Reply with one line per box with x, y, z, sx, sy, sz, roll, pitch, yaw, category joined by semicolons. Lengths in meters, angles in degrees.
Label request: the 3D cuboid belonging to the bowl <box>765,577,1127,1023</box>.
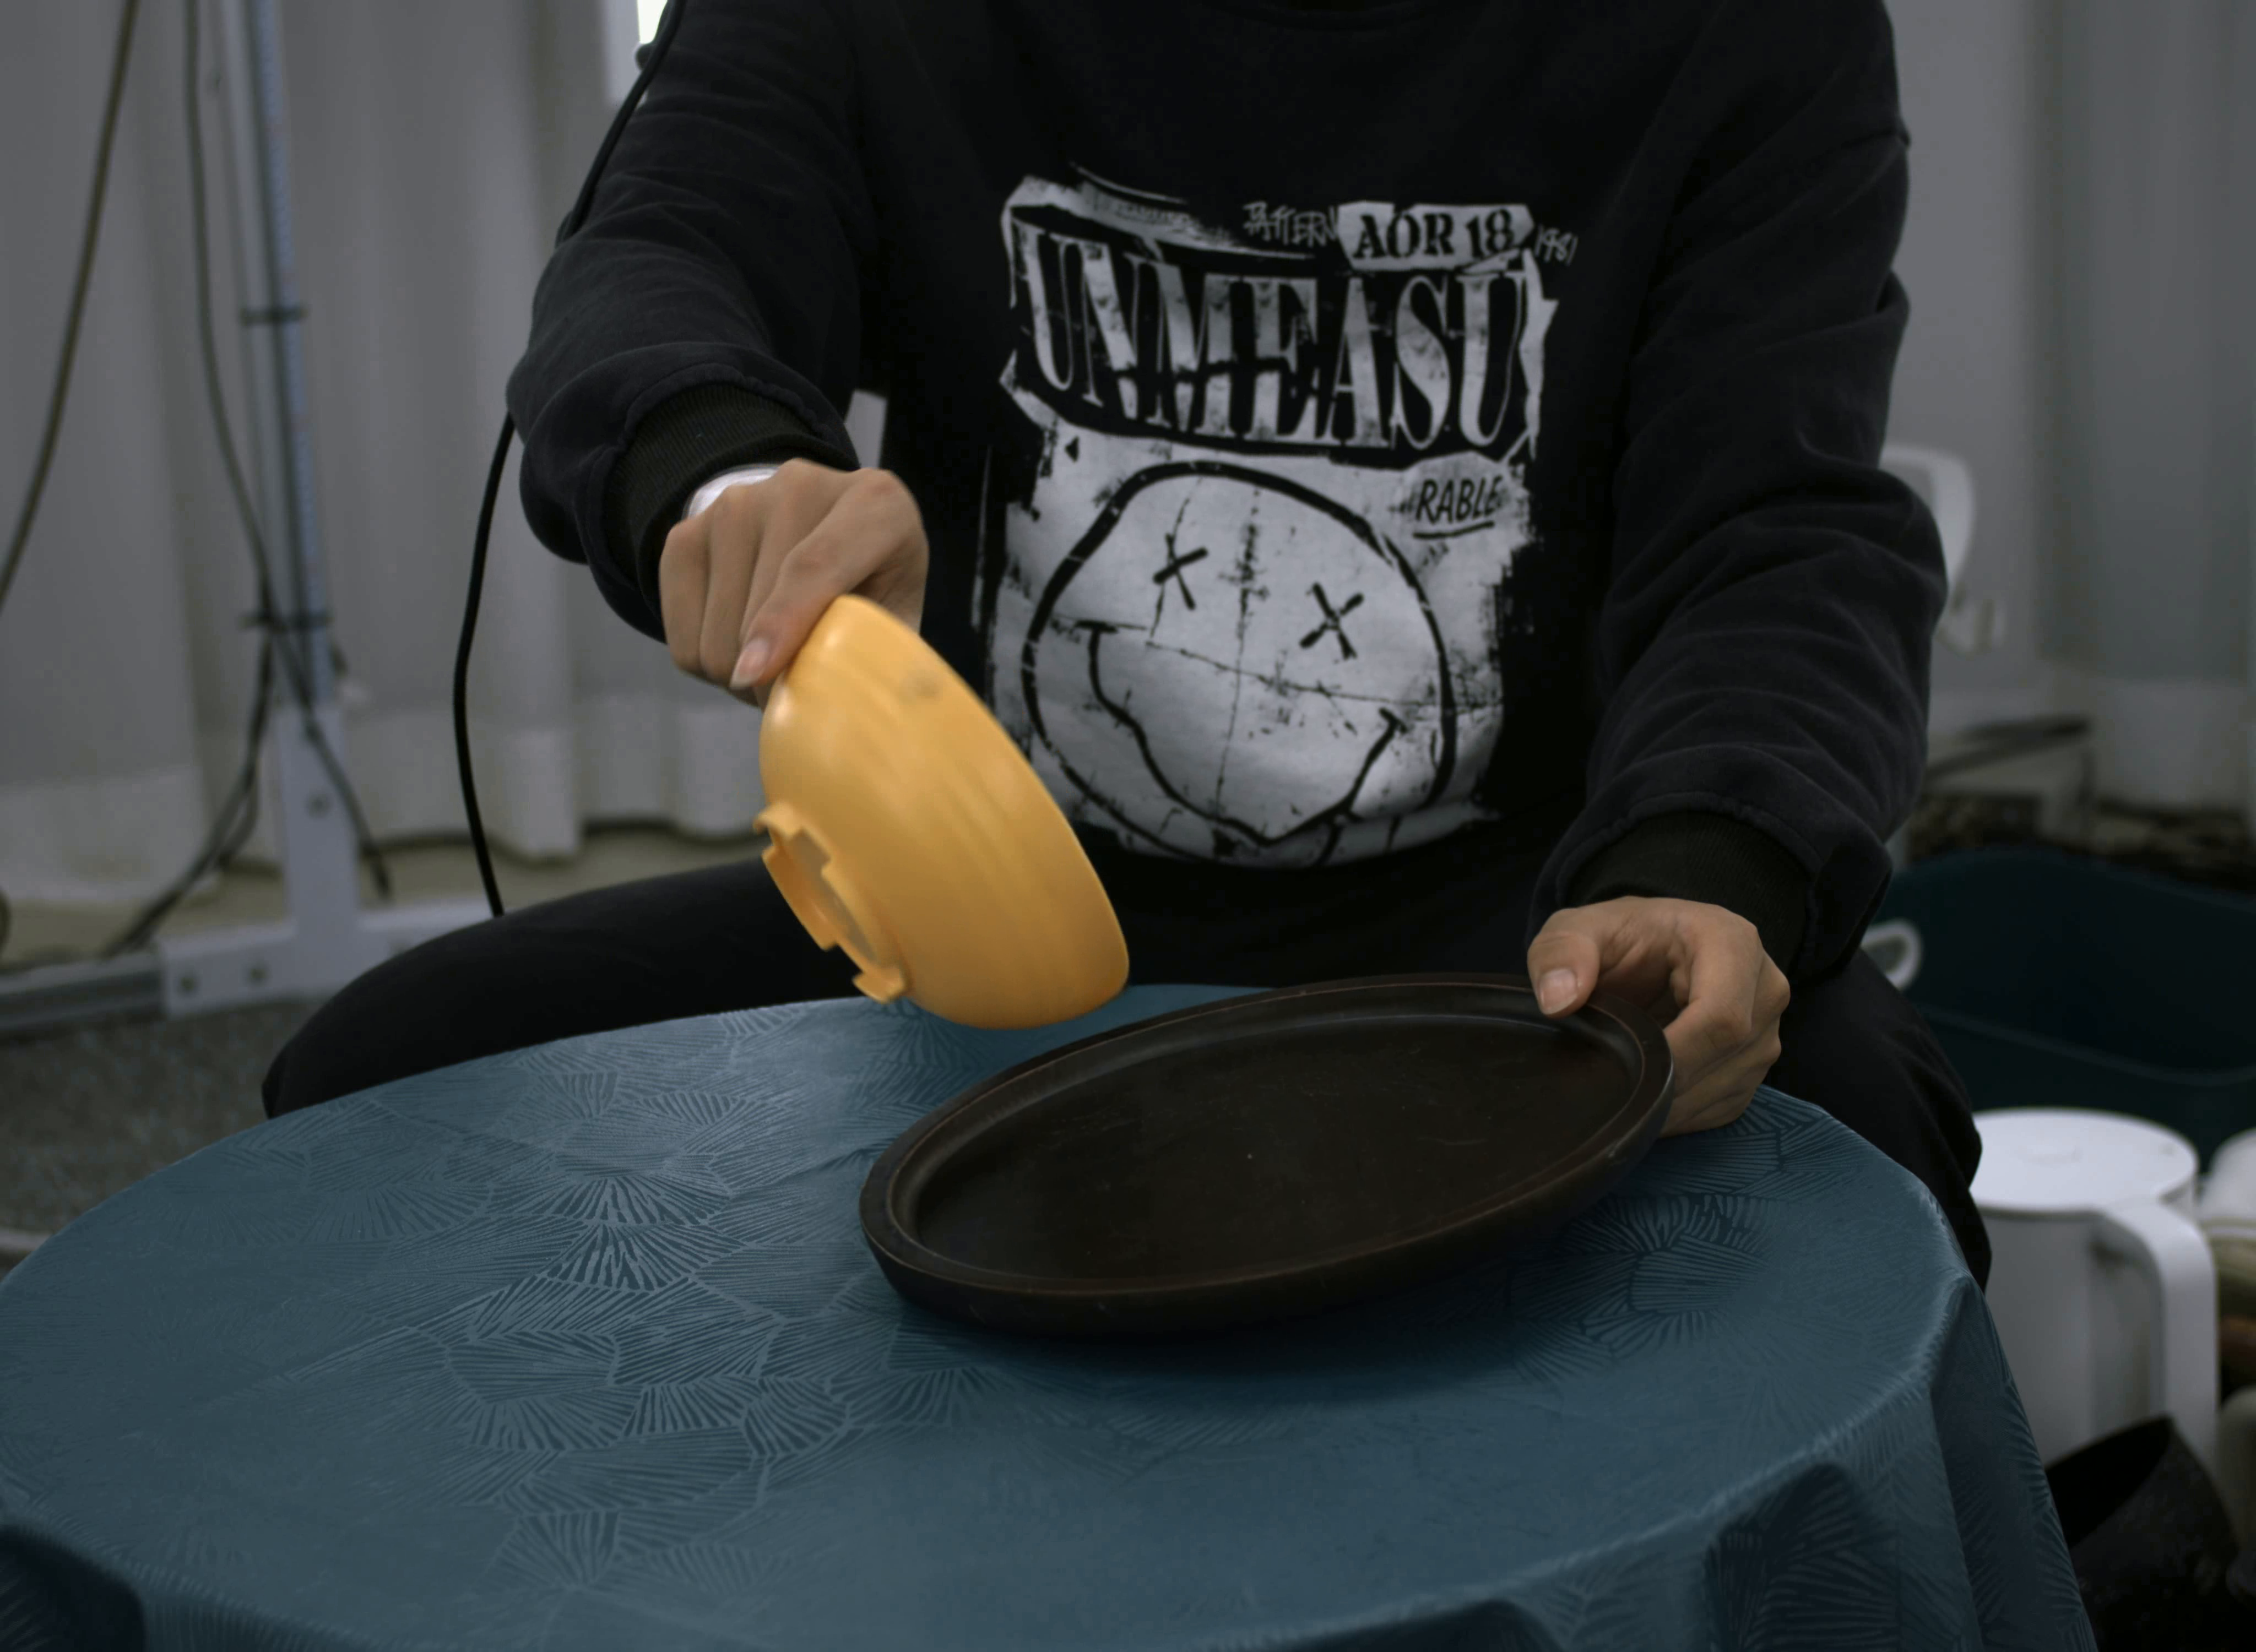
-0.064;0.004;1.591;0.060;0.144;0.146;-32;24;-15;bowl

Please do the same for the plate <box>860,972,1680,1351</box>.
0.043;0.100;1.657;0.254;0.029;0.256;-12;15;3;plate
